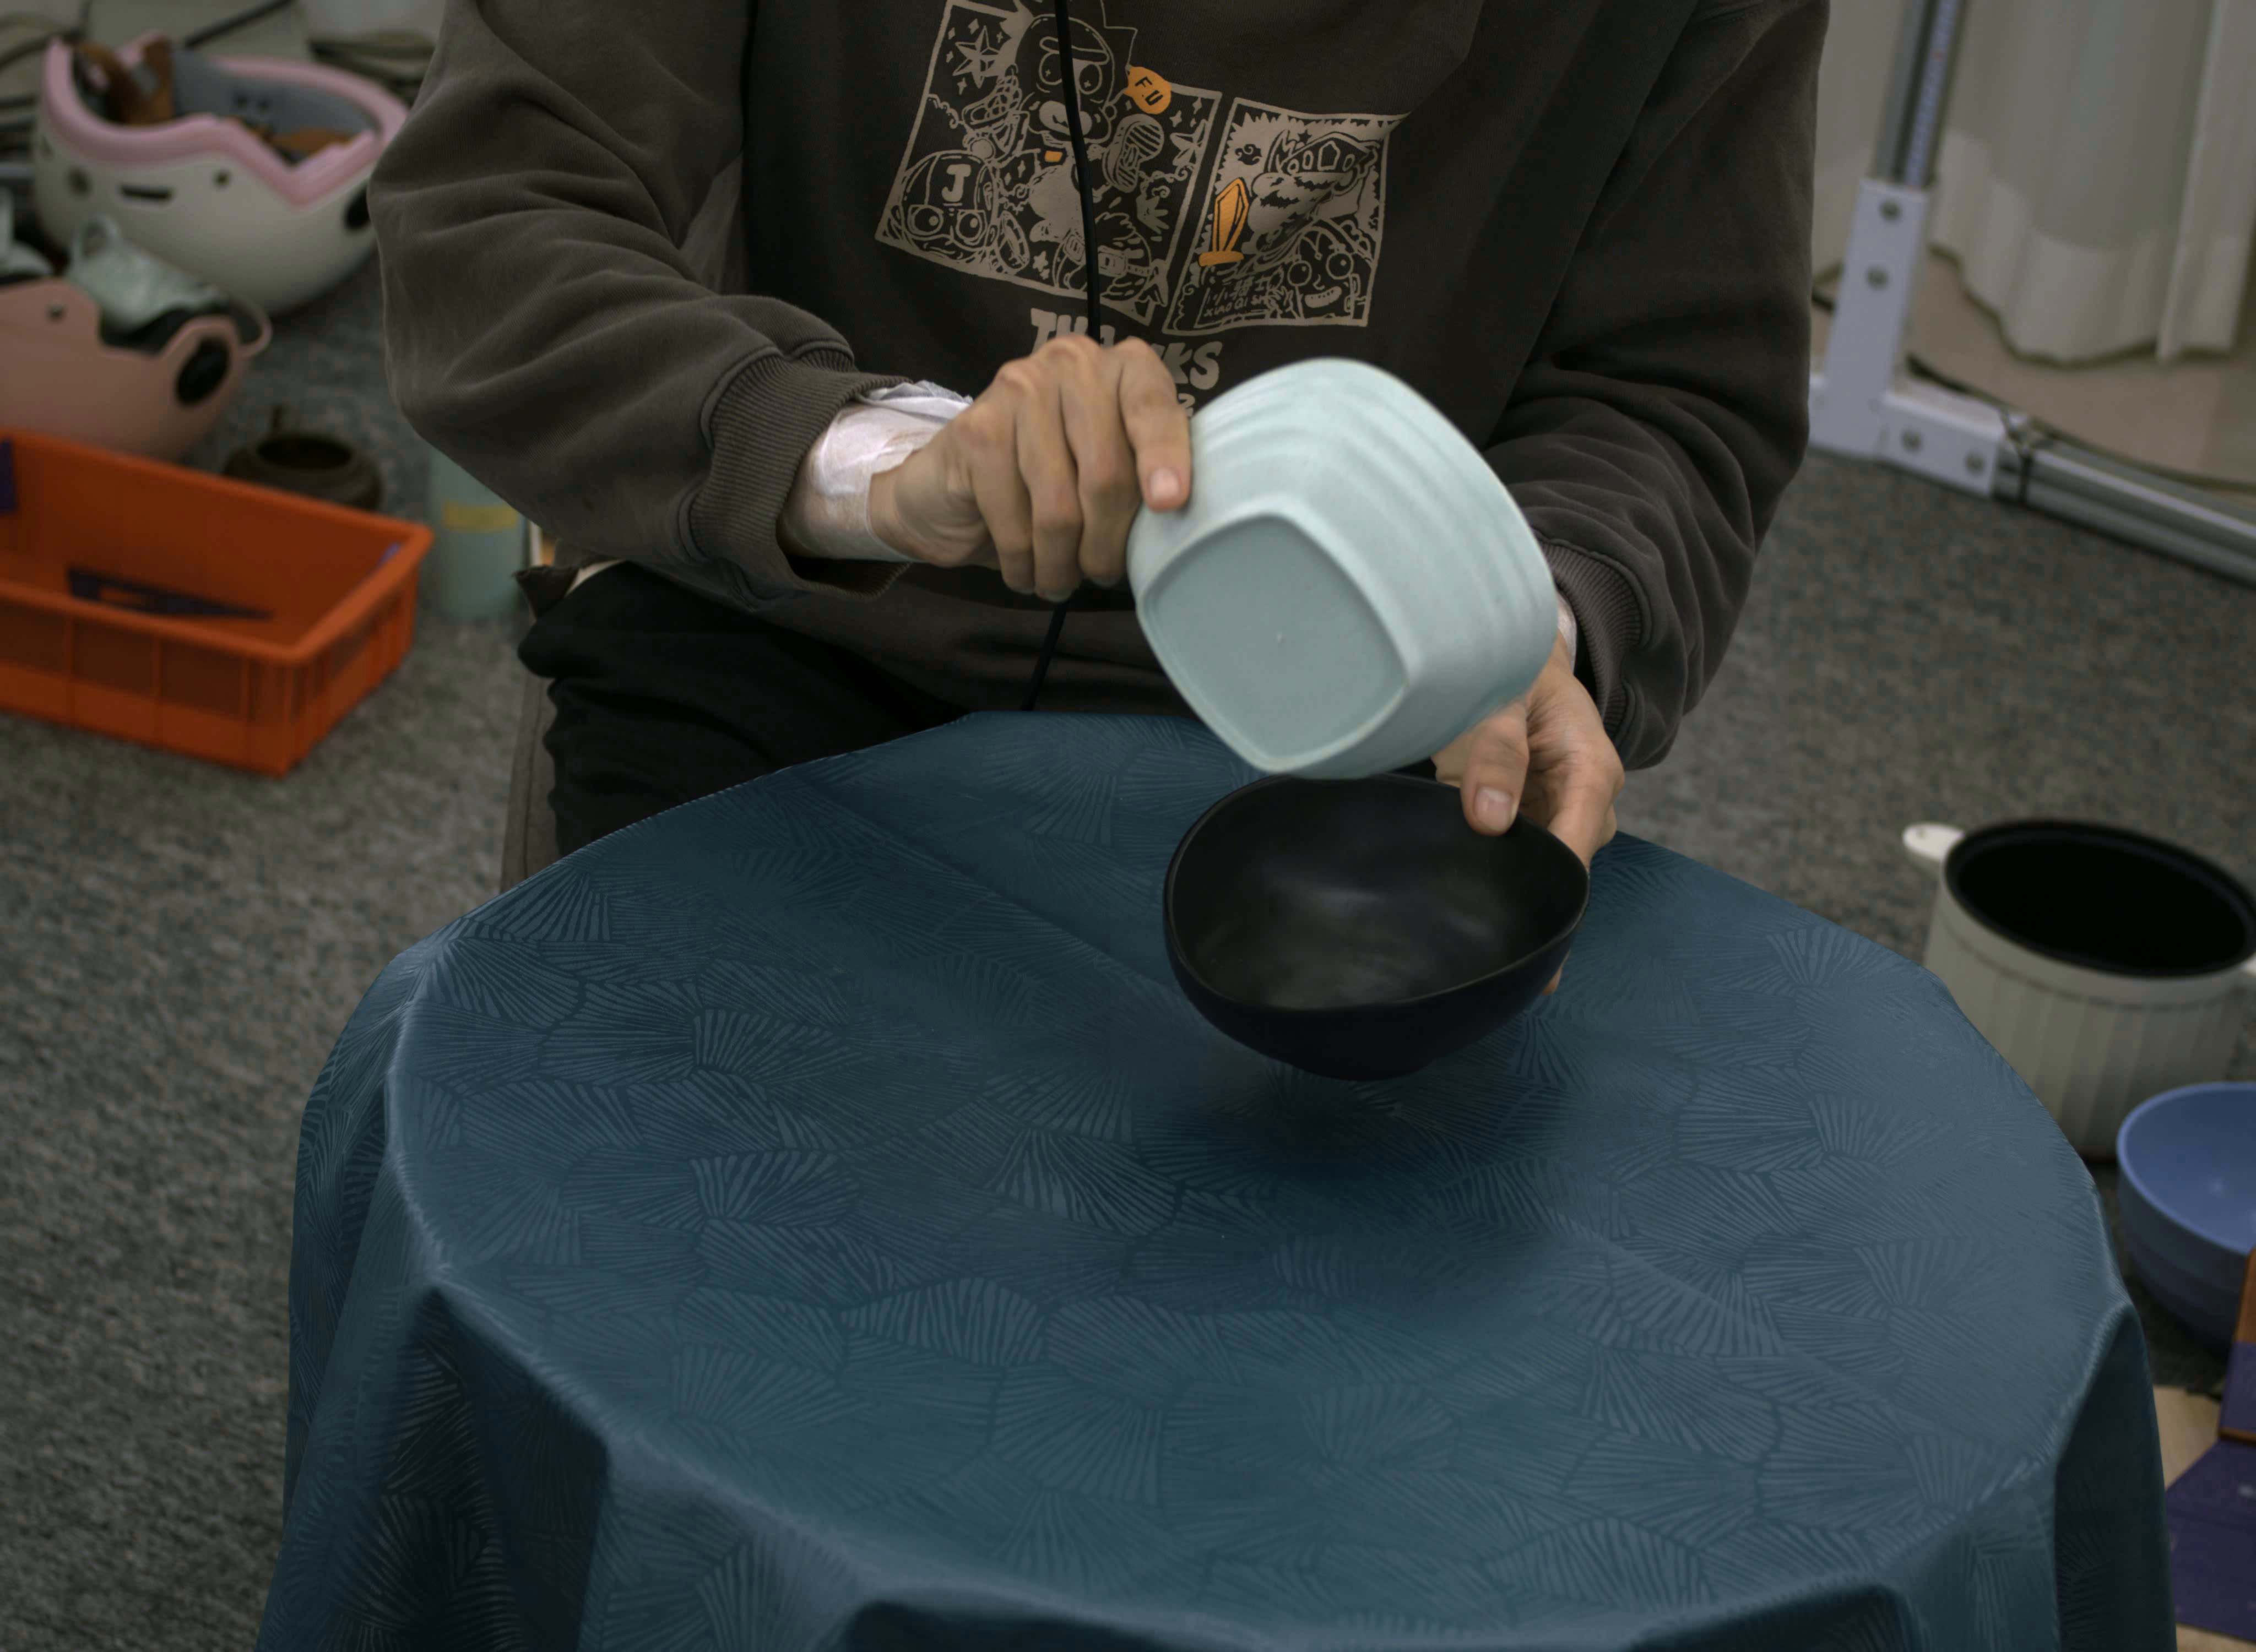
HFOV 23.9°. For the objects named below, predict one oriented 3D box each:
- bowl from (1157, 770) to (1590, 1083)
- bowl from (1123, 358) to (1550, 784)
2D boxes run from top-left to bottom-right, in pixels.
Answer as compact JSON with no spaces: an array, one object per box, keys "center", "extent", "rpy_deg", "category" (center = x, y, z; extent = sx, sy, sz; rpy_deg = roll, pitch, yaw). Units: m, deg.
[{"center":[0.082,0.045,1.839],"extent":[0.138,0.066,0.170],"rpy_deg":[26,35,29],"category":"bowl"},{"center":[0.056,-0.071,1.714],"extent":[0.152,0.151,0.058],"rpy_deg":[19,36,23],"category":"bowl"}]
